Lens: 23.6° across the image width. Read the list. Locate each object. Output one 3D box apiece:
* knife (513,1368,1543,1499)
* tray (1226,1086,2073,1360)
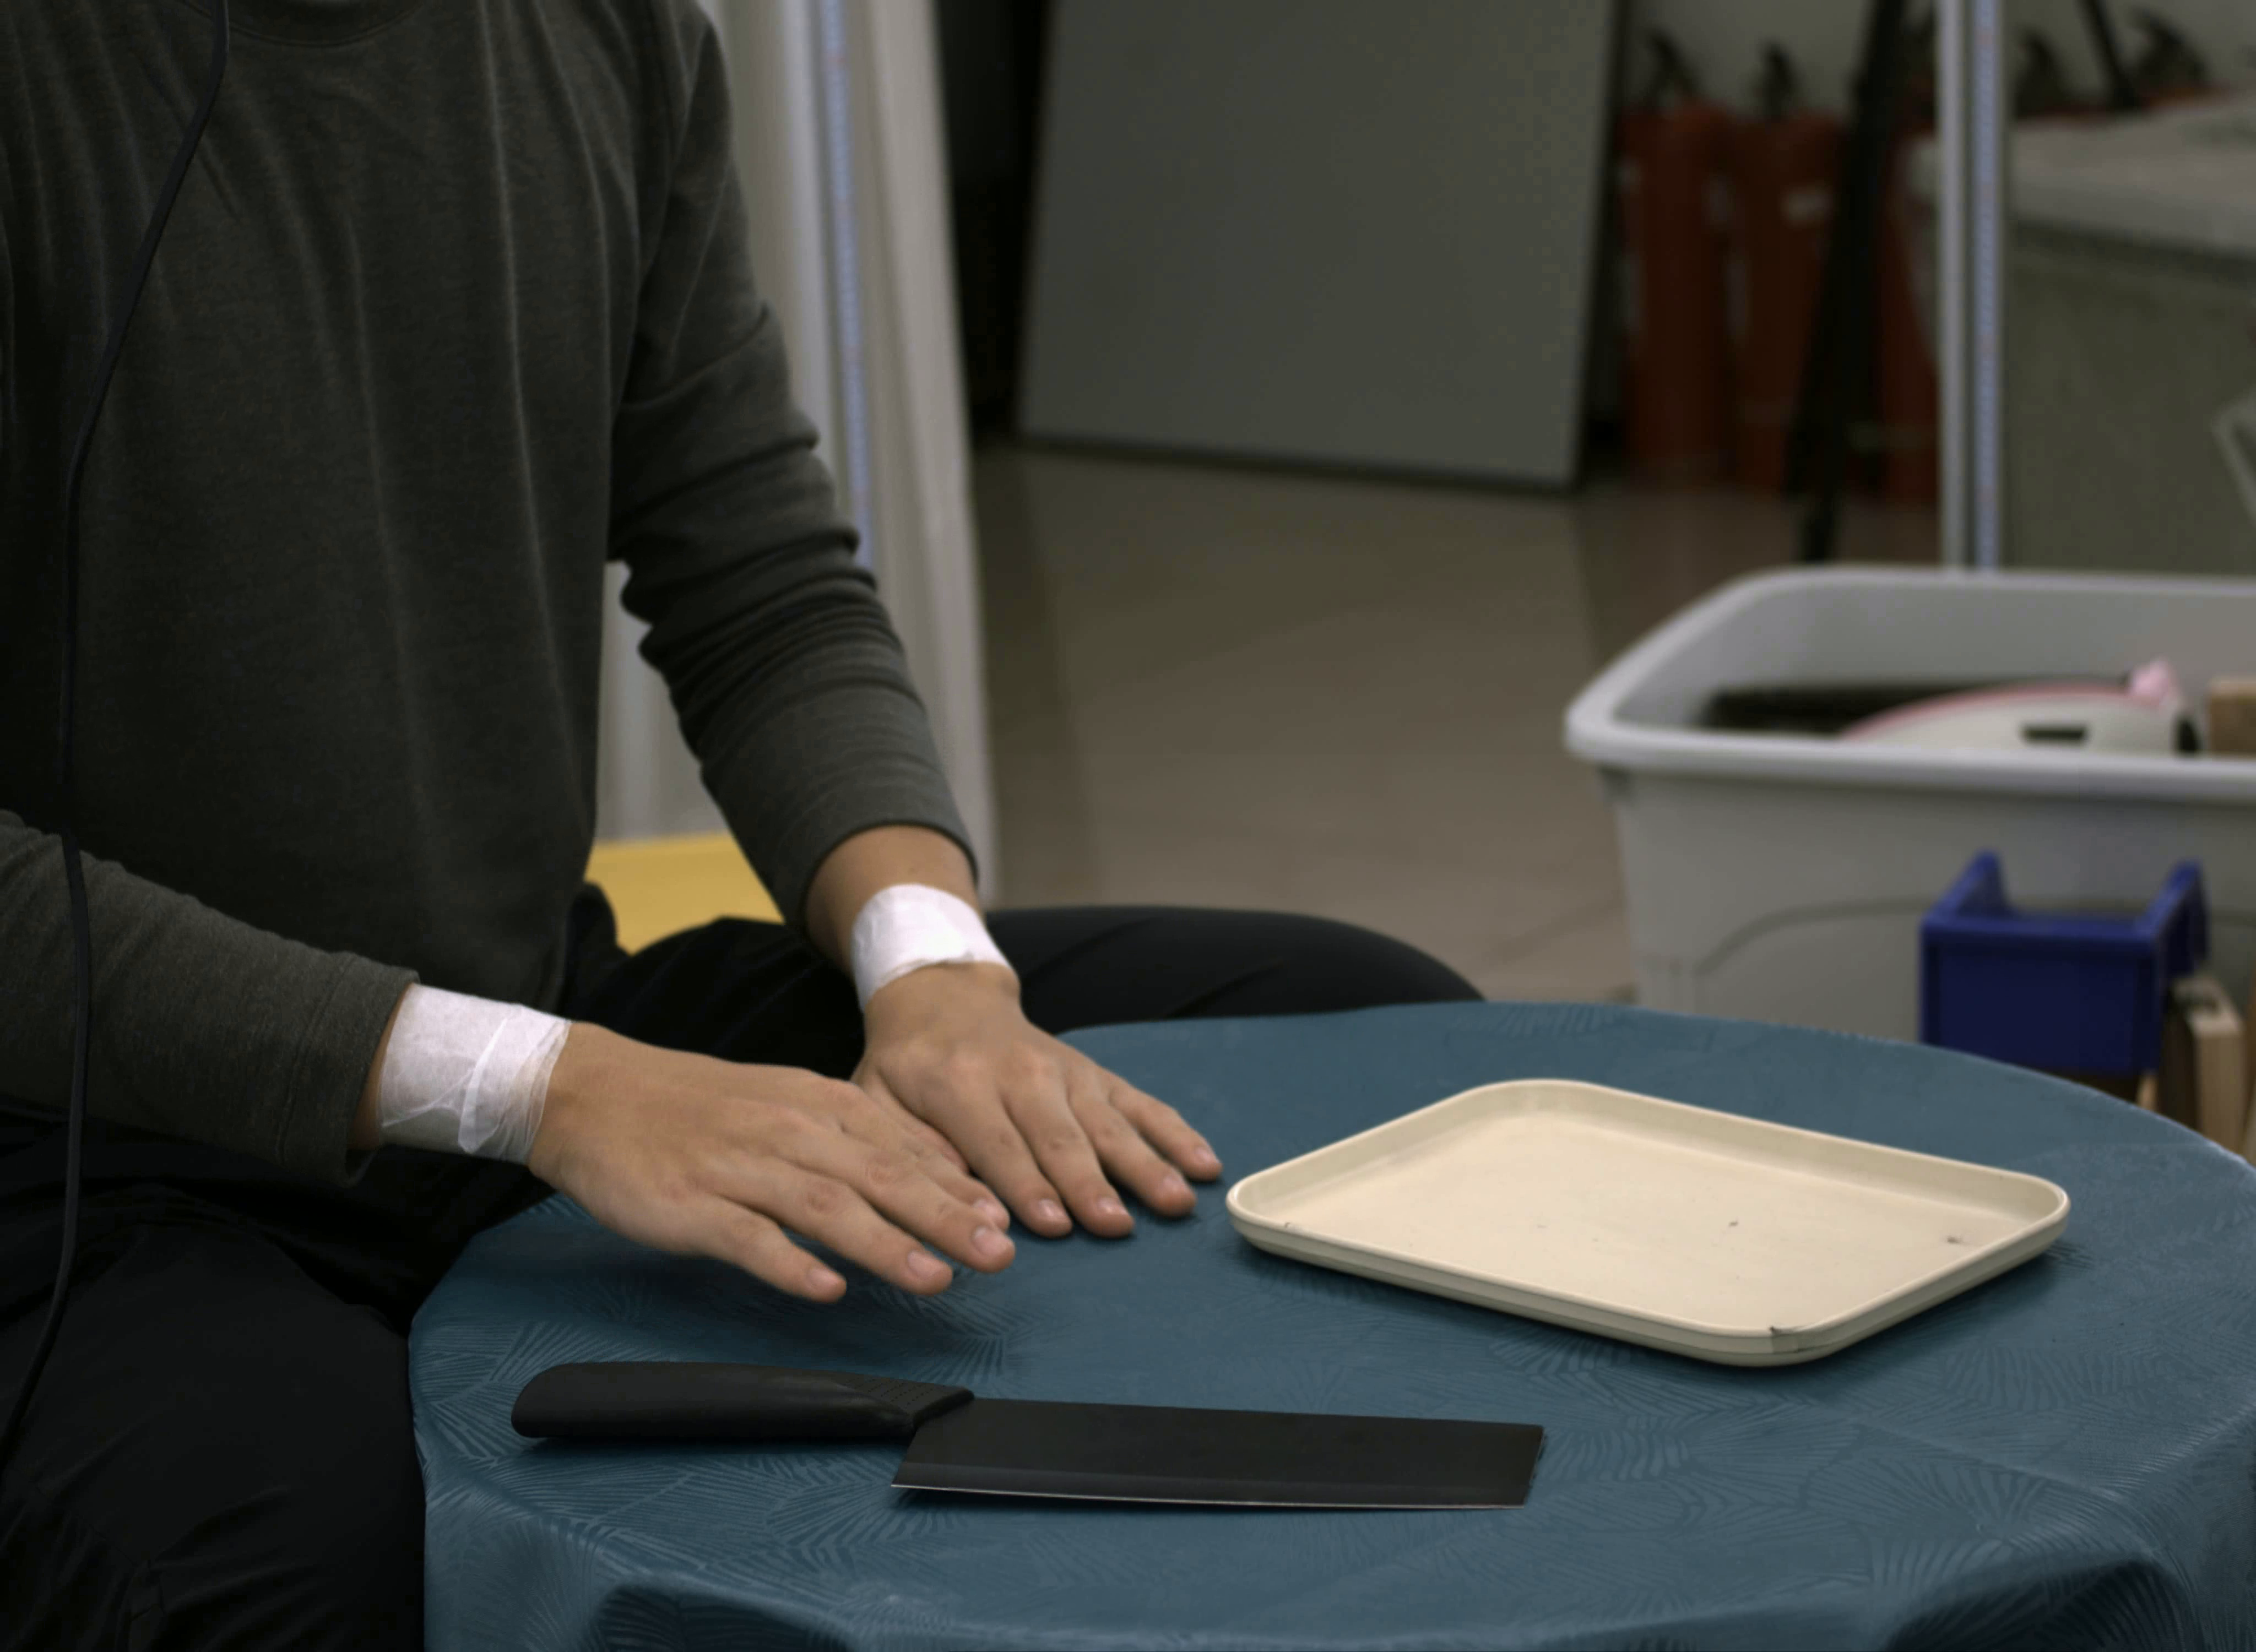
[{"bbox_3d":[-0.030,0.175,1.534,0.301,0.021,0.080,2,15,16],"label":"knife"},{"bbox_3d":[0.161,0.123,1.681,0.242,0.017,0.168,9,18,44],"label":"tray"}]
